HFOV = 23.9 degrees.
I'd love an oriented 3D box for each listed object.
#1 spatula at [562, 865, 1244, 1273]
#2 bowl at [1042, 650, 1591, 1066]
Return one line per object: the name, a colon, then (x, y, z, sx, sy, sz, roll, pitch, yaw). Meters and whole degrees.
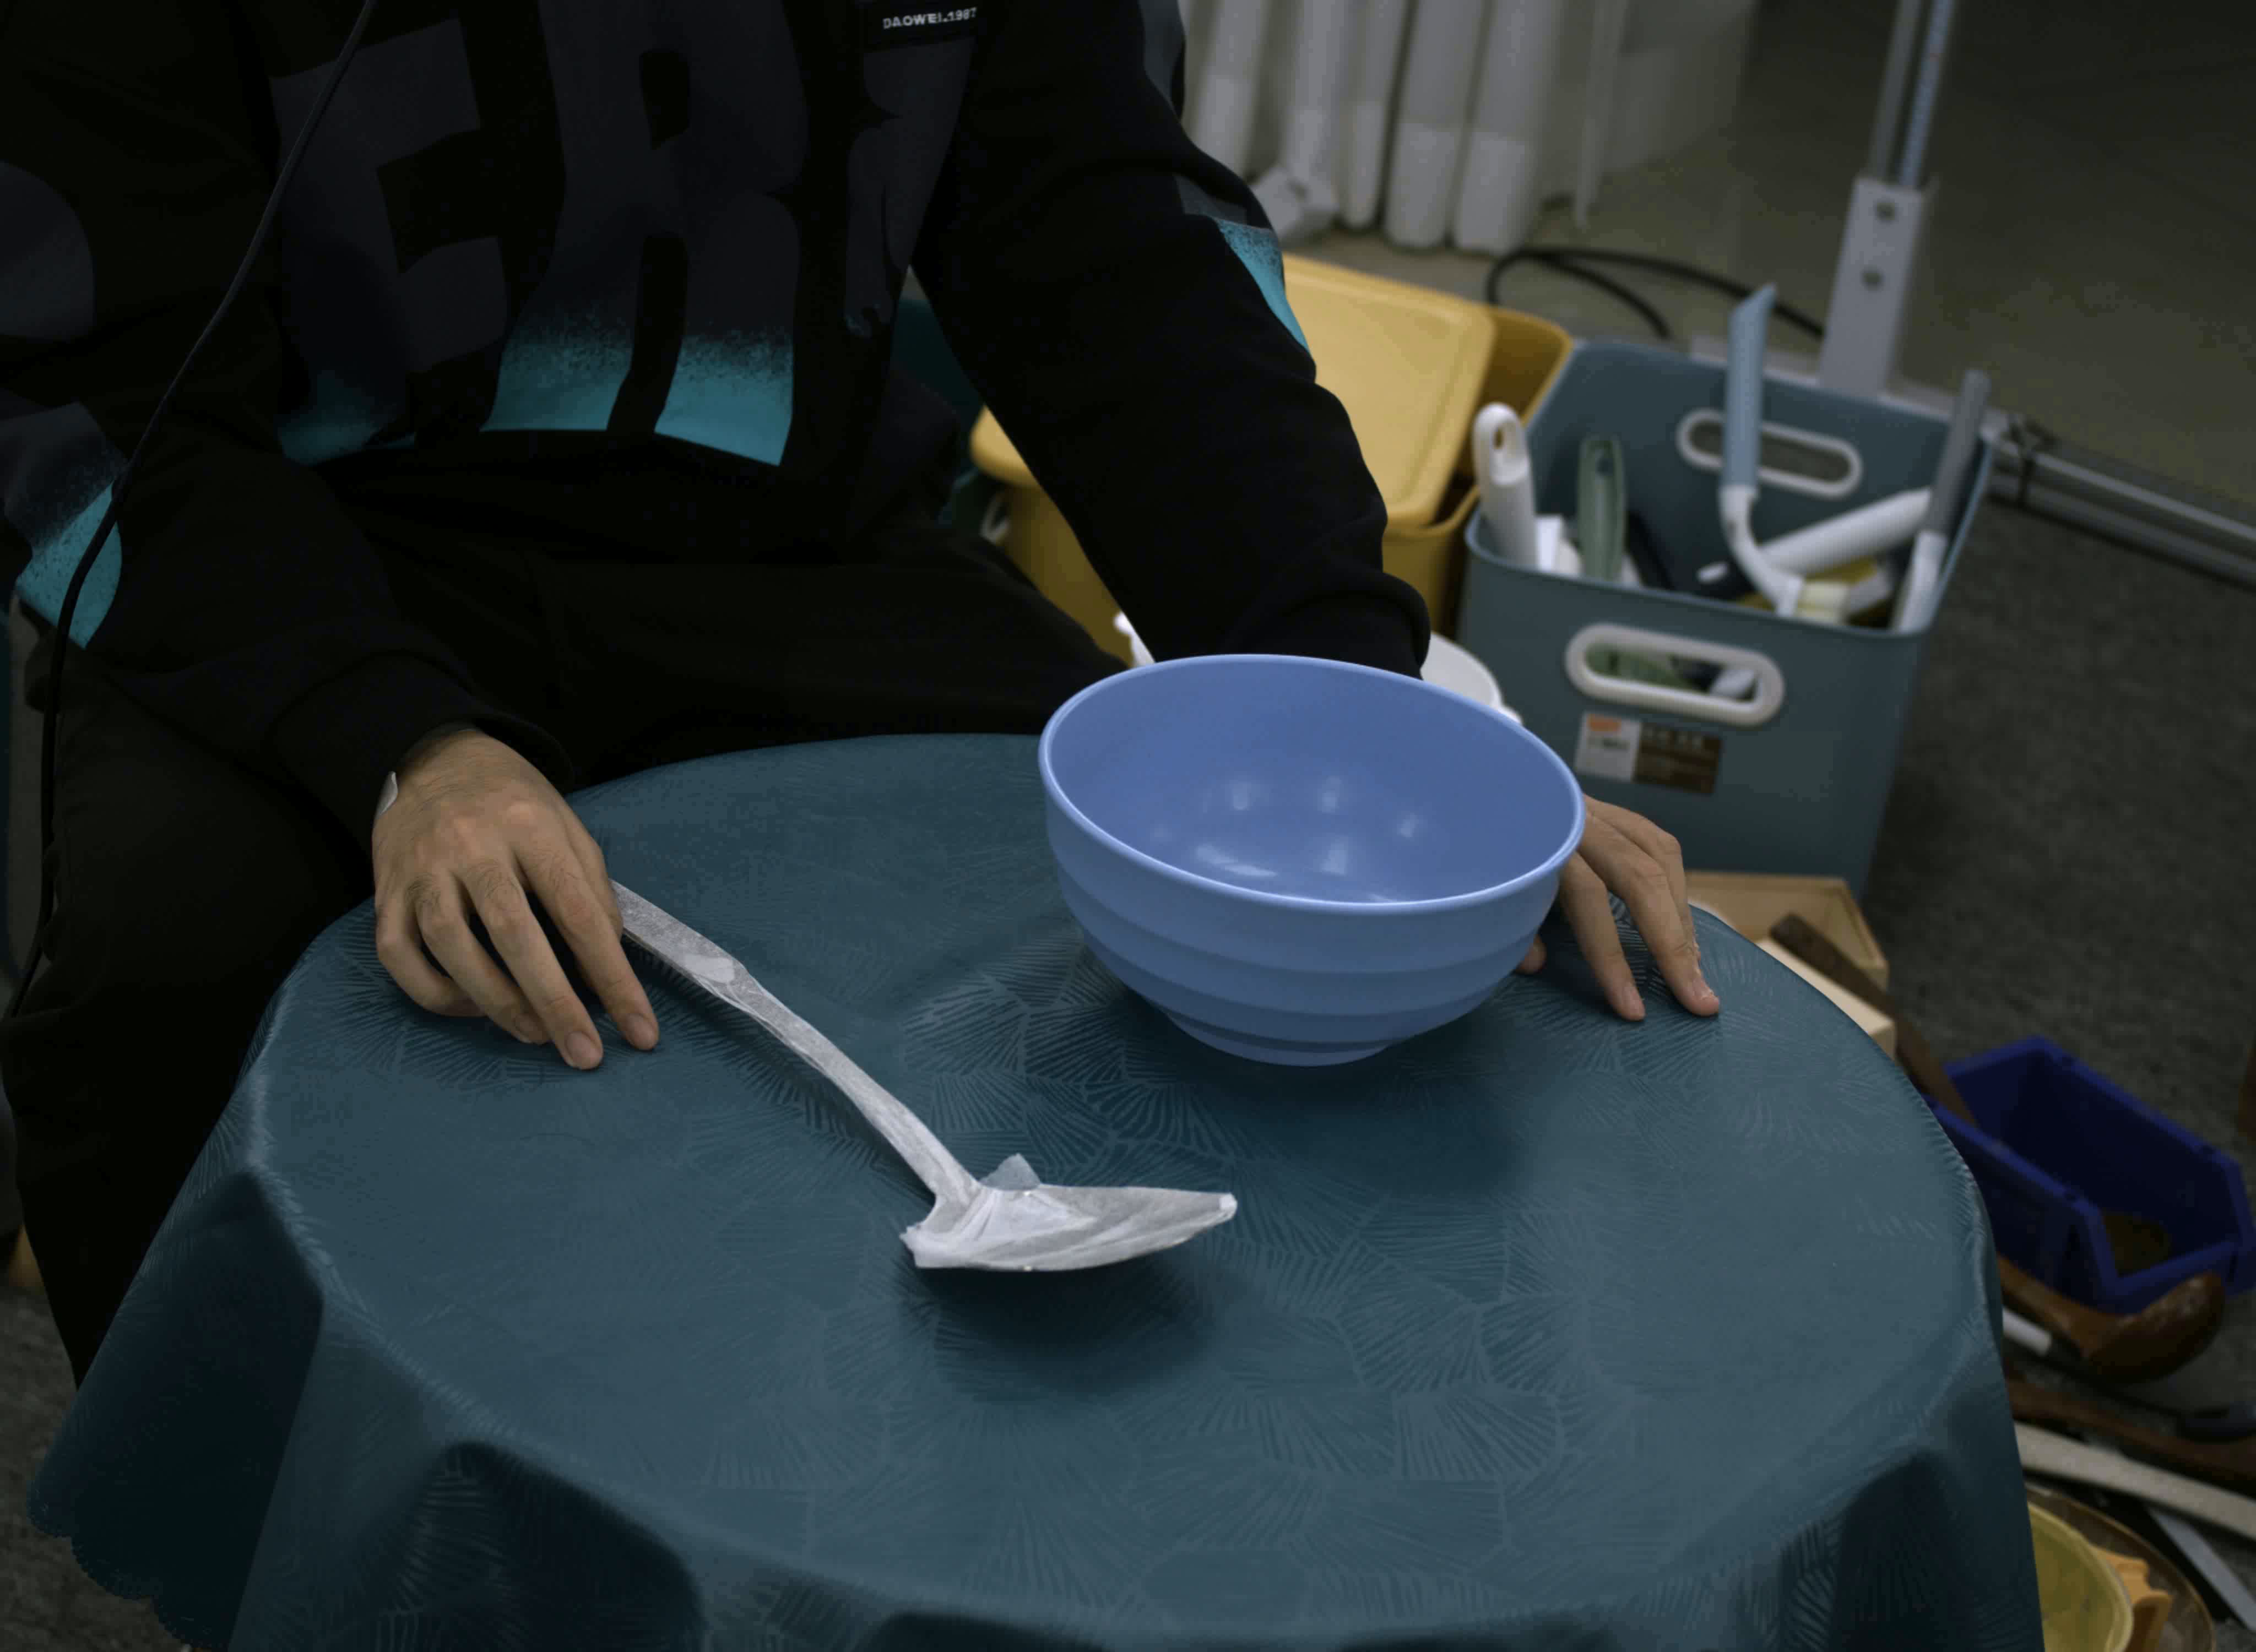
spatula: (-0.101, 0.076, 1.830, 0.098, 0.044, 0.368, -15, 34, -34)
bowl: (0.062, 0.023, 1.908, 0.196, 0.095, 0.198, 5, 28, -3)
